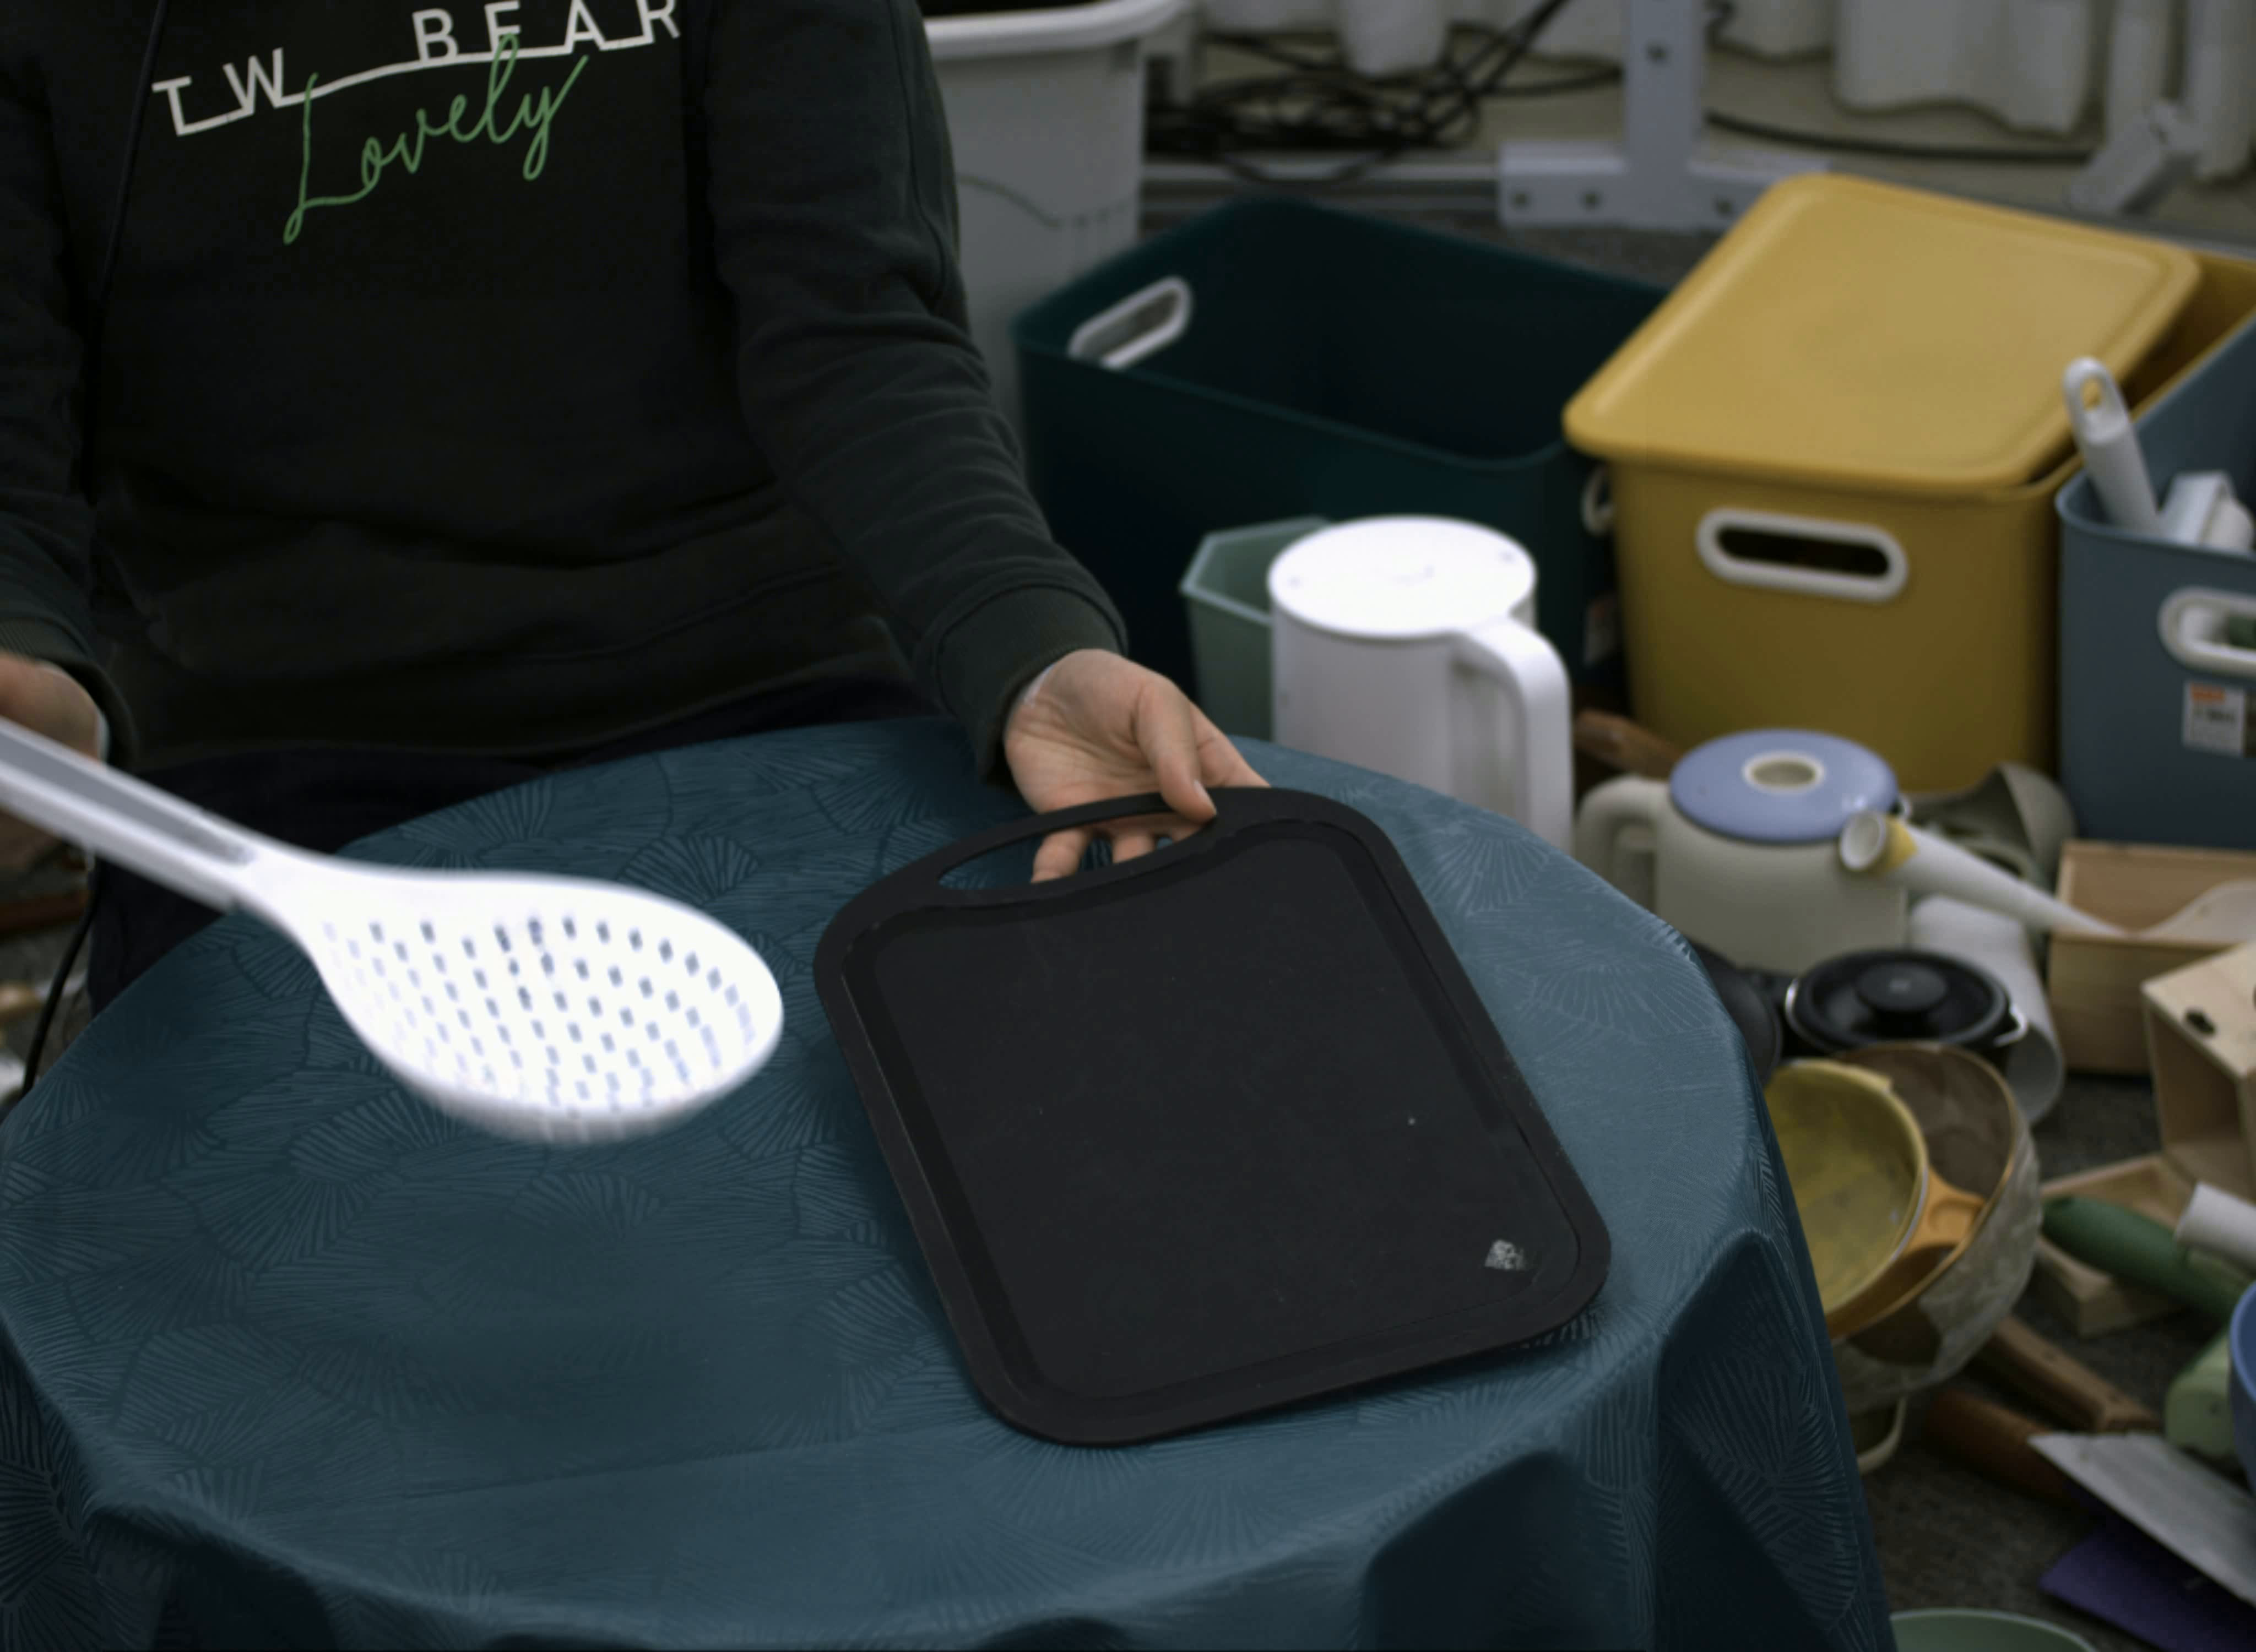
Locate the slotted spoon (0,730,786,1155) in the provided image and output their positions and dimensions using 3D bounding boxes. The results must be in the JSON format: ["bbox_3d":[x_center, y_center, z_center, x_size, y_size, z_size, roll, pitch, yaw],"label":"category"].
[{"bbox_3d":[-0.265,0.025,1.784,0.349,0.045,0.138,27,32,21],"label":"slotted spoon"}]

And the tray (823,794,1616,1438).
[{"bbox_3d":[0.021,0.085,1.866,0.211,0.009,0.329,-13,36,-10],"label":"tray"}]
